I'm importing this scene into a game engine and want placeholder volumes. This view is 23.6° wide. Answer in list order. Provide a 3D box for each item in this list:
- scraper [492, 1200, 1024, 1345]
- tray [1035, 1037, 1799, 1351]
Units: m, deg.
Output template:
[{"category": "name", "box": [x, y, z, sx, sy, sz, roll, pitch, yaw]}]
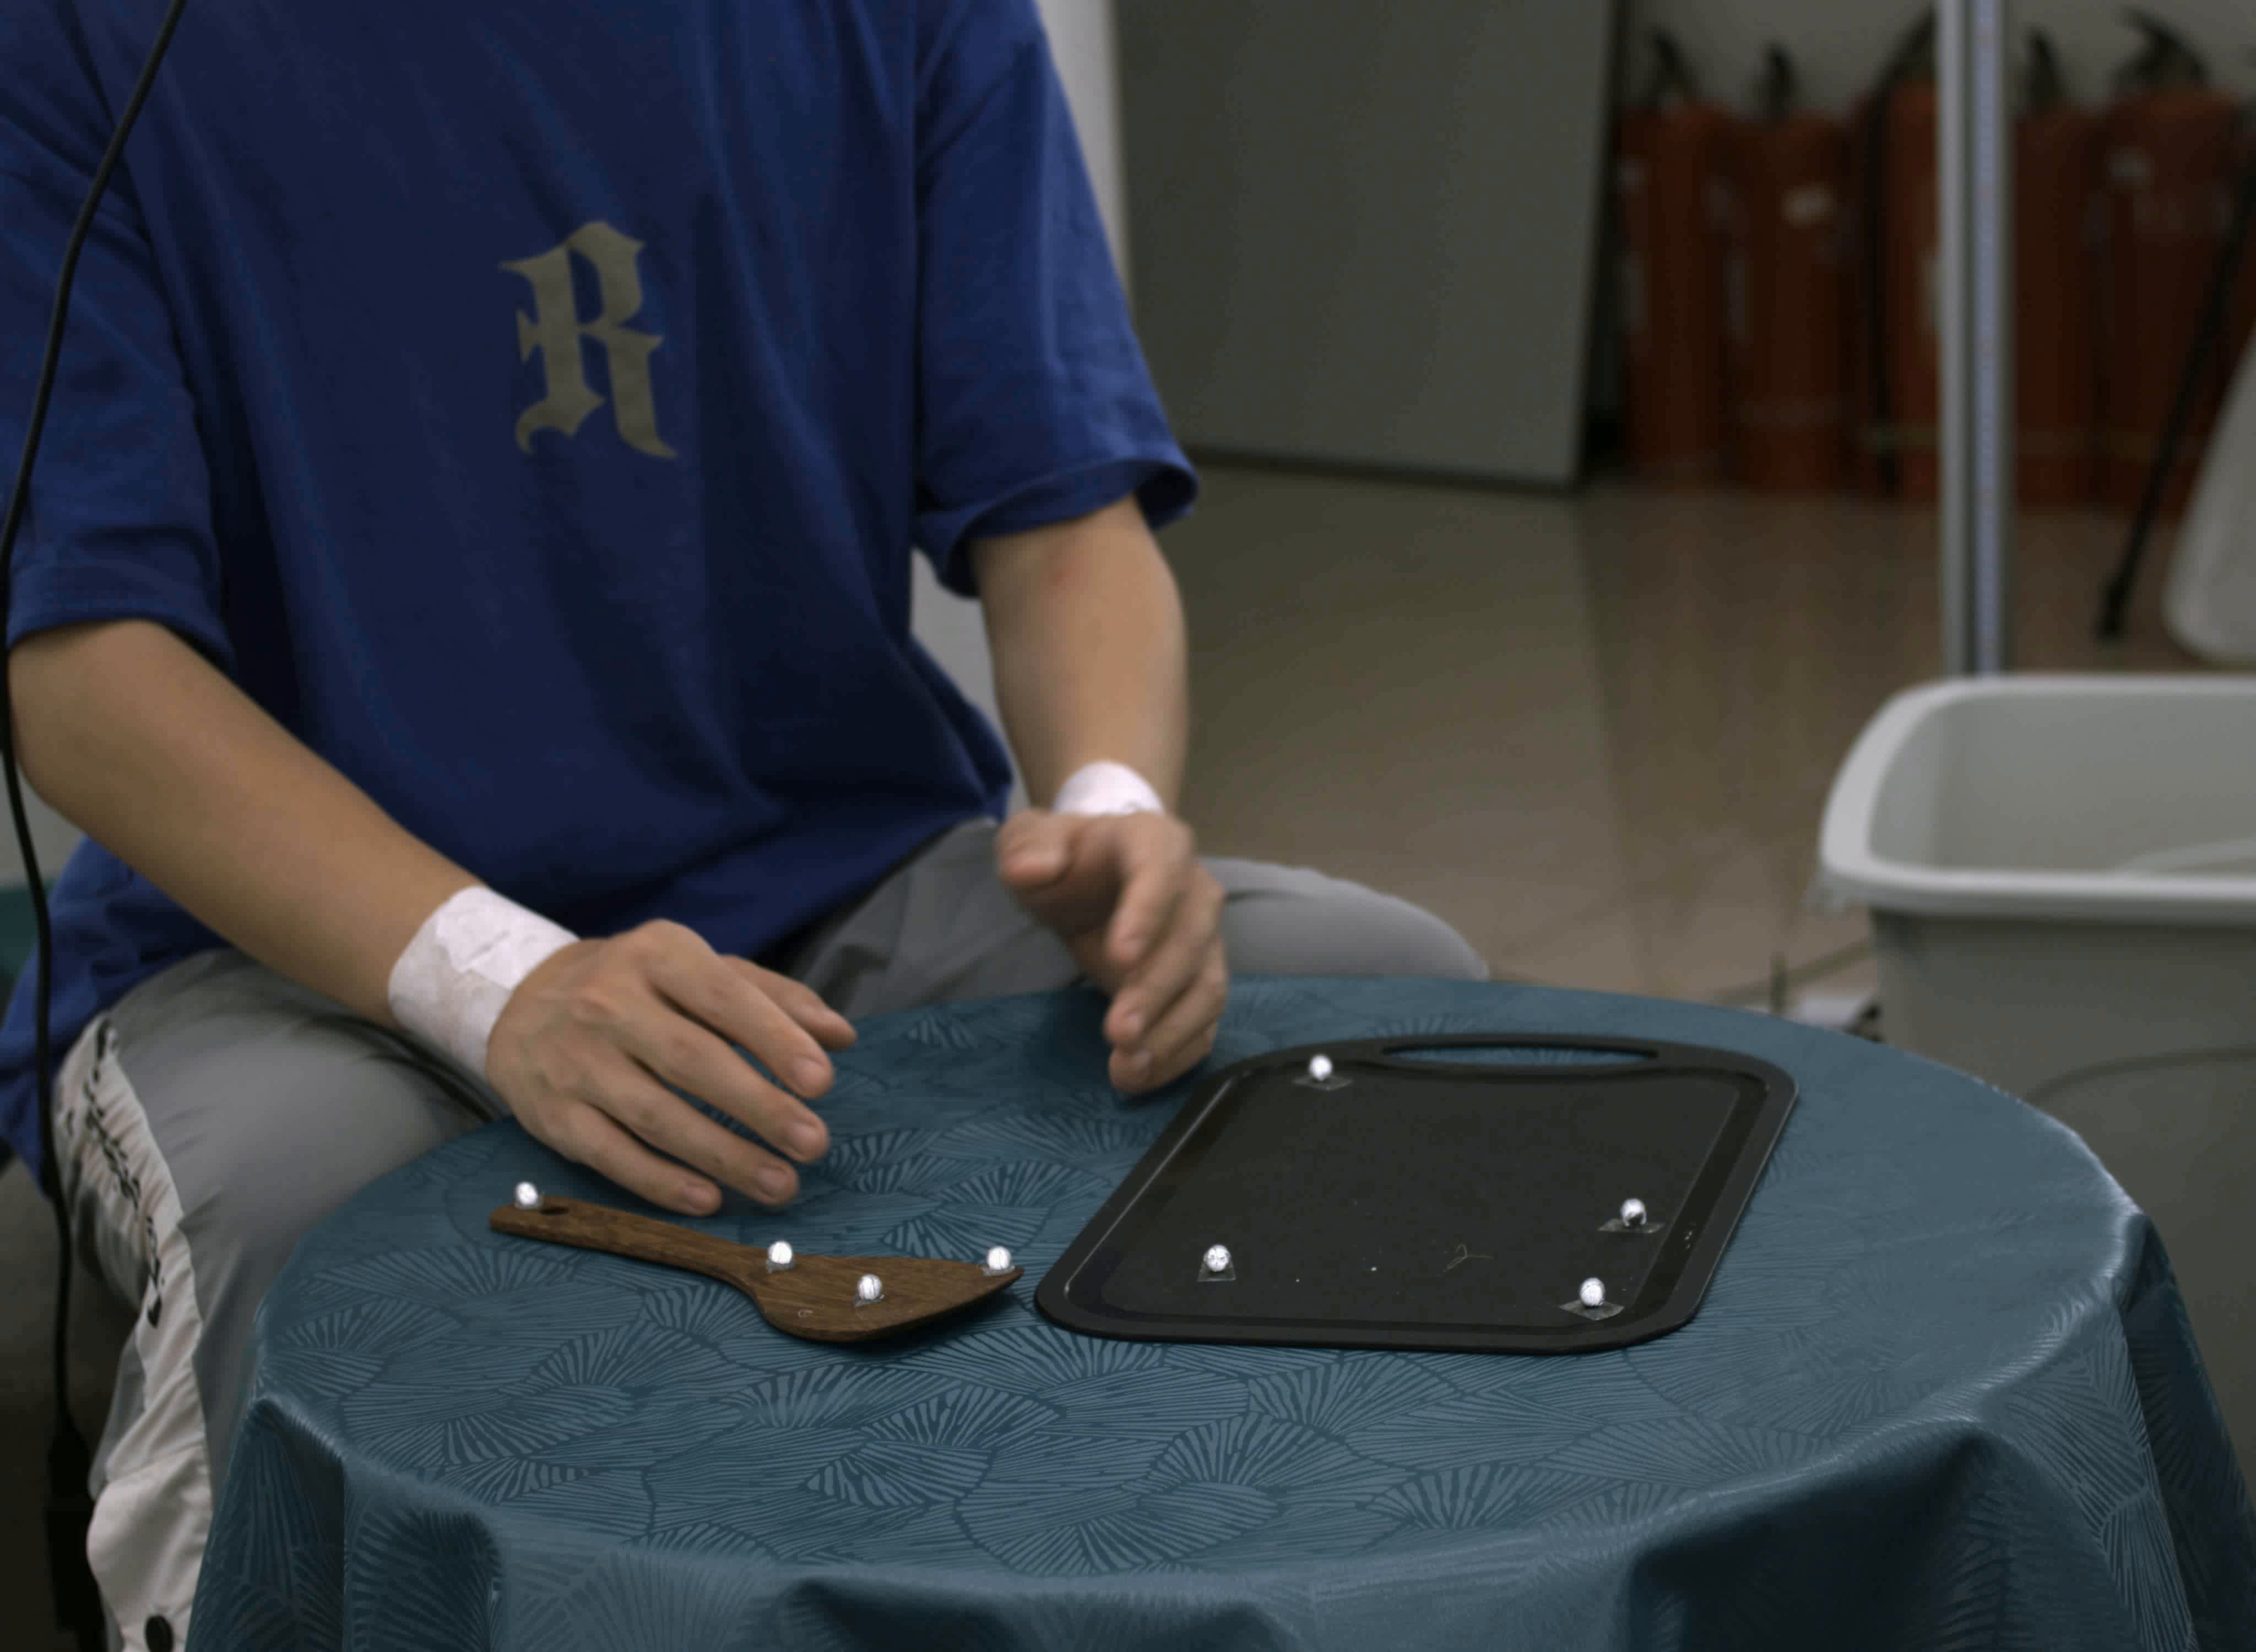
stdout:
[{"category": "scraper", "box": [-0.126, 0.139, 1.717, 0.213, 0.011, 0.074, 8, 18, 43]}, {"category": "tray", "box": [0.102, 0.114, 1.759, 0.210, 0.010, 0.323, 0, 14, 16]}]
